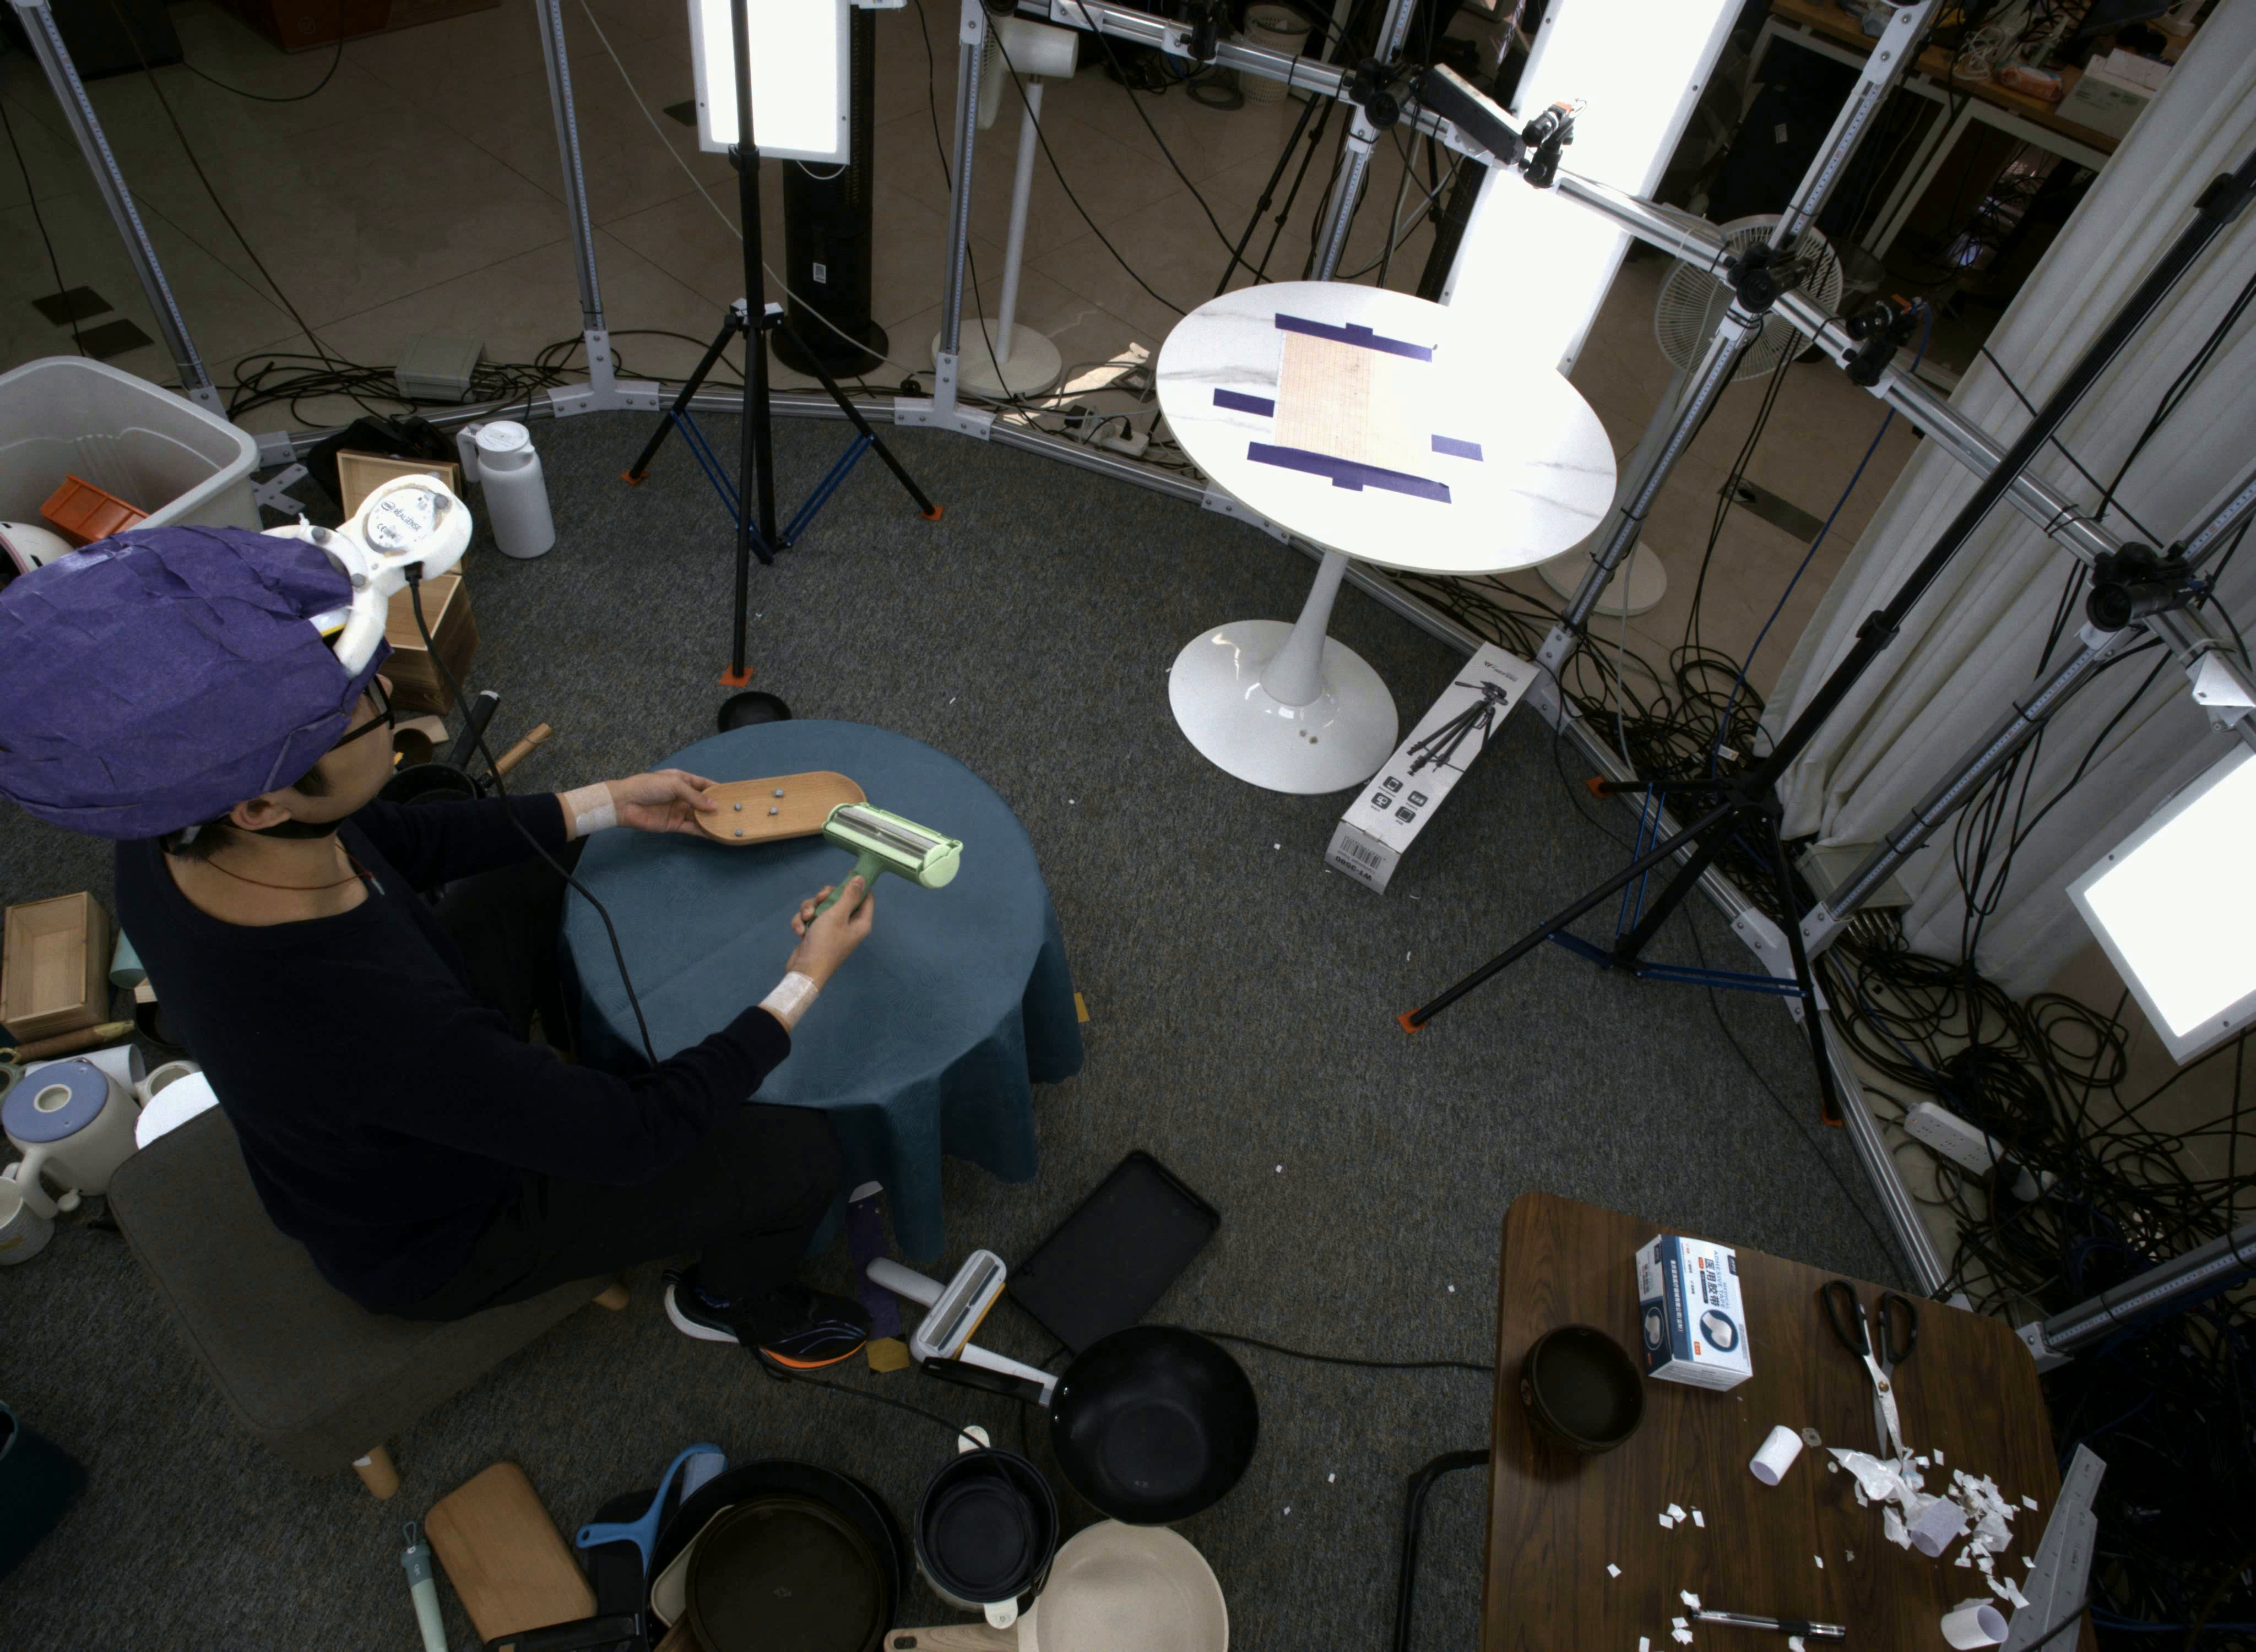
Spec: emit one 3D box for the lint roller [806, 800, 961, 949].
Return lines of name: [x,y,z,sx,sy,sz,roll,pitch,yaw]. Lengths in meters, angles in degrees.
lint roller: [-0.296,0.068,1.484,0.191,0.085,0.183,19,76,38]

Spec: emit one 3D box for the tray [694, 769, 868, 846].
tray: [-0.450,-0.026,1.689,0.234,0.020,0.099,-10,55,-37]
